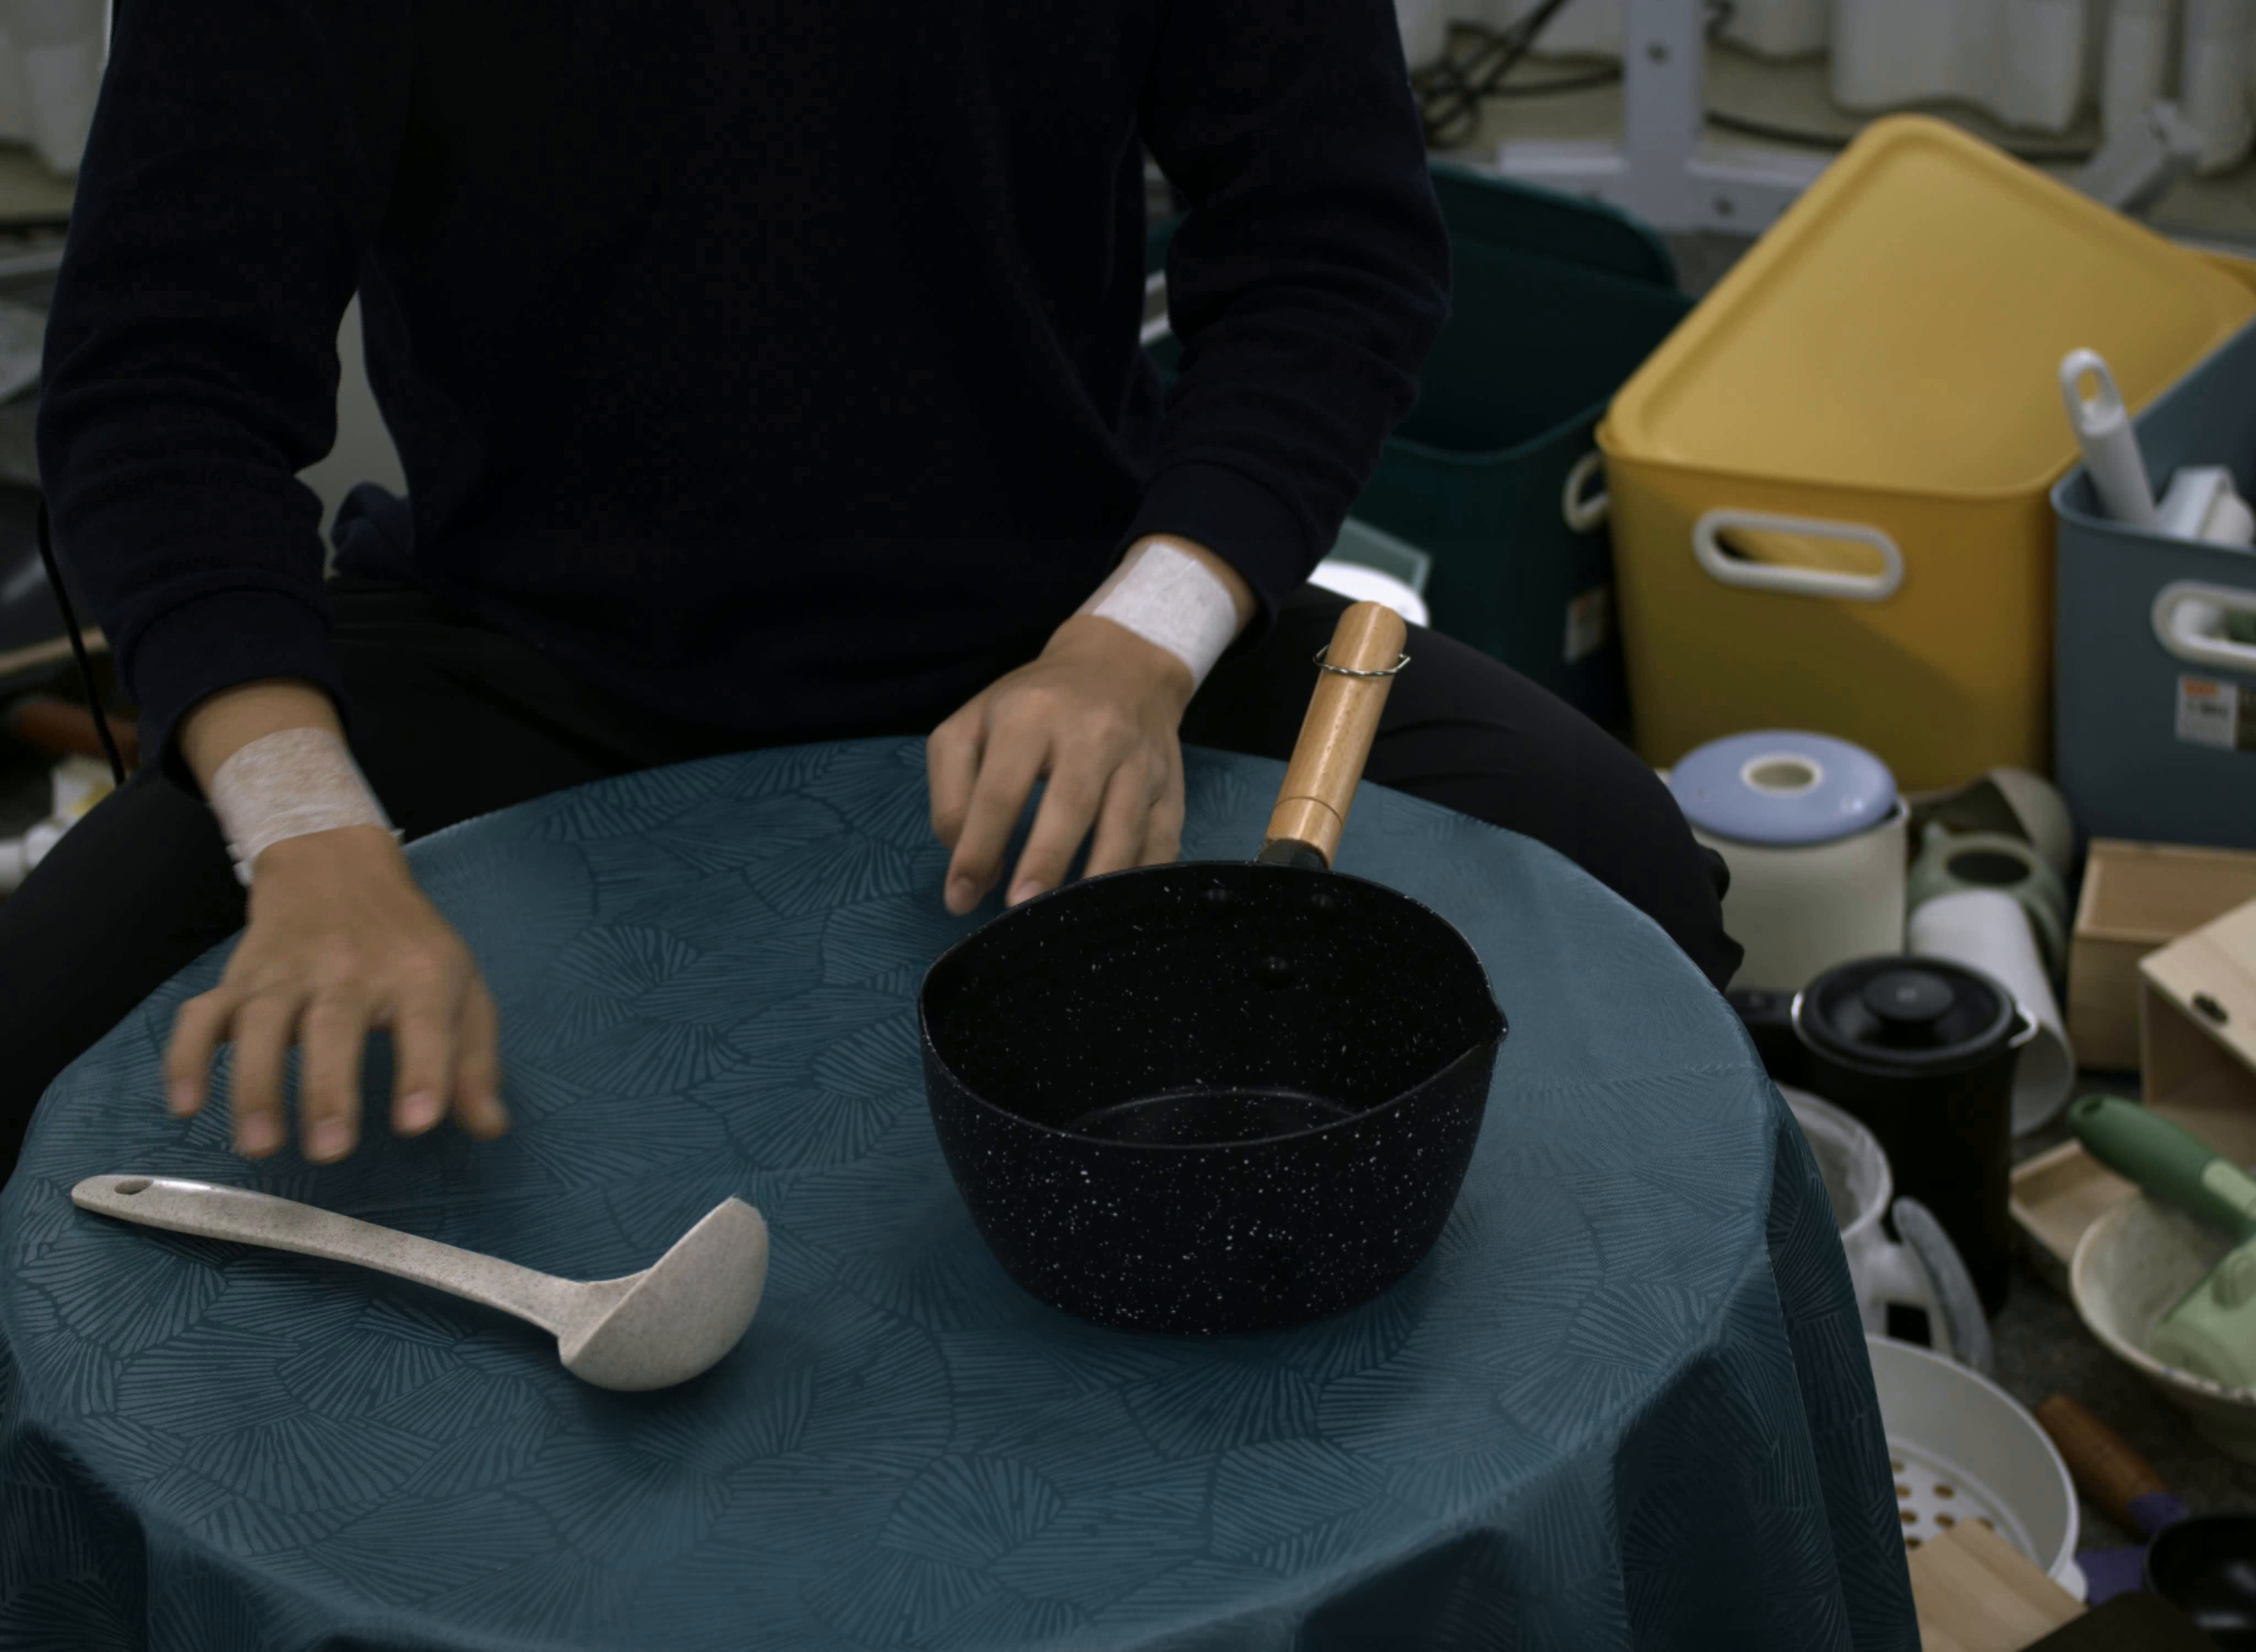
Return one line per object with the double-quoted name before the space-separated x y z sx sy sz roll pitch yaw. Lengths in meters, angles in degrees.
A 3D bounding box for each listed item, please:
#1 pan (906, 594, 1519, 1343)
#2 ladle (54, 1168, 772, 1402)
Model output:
"pan" 0.045 0.044 1.891 0.206 0.107 0.349 3 29 14
"ladle" -0.239 0.123 1.806 0.273 0.068 0.091 13 39 25
